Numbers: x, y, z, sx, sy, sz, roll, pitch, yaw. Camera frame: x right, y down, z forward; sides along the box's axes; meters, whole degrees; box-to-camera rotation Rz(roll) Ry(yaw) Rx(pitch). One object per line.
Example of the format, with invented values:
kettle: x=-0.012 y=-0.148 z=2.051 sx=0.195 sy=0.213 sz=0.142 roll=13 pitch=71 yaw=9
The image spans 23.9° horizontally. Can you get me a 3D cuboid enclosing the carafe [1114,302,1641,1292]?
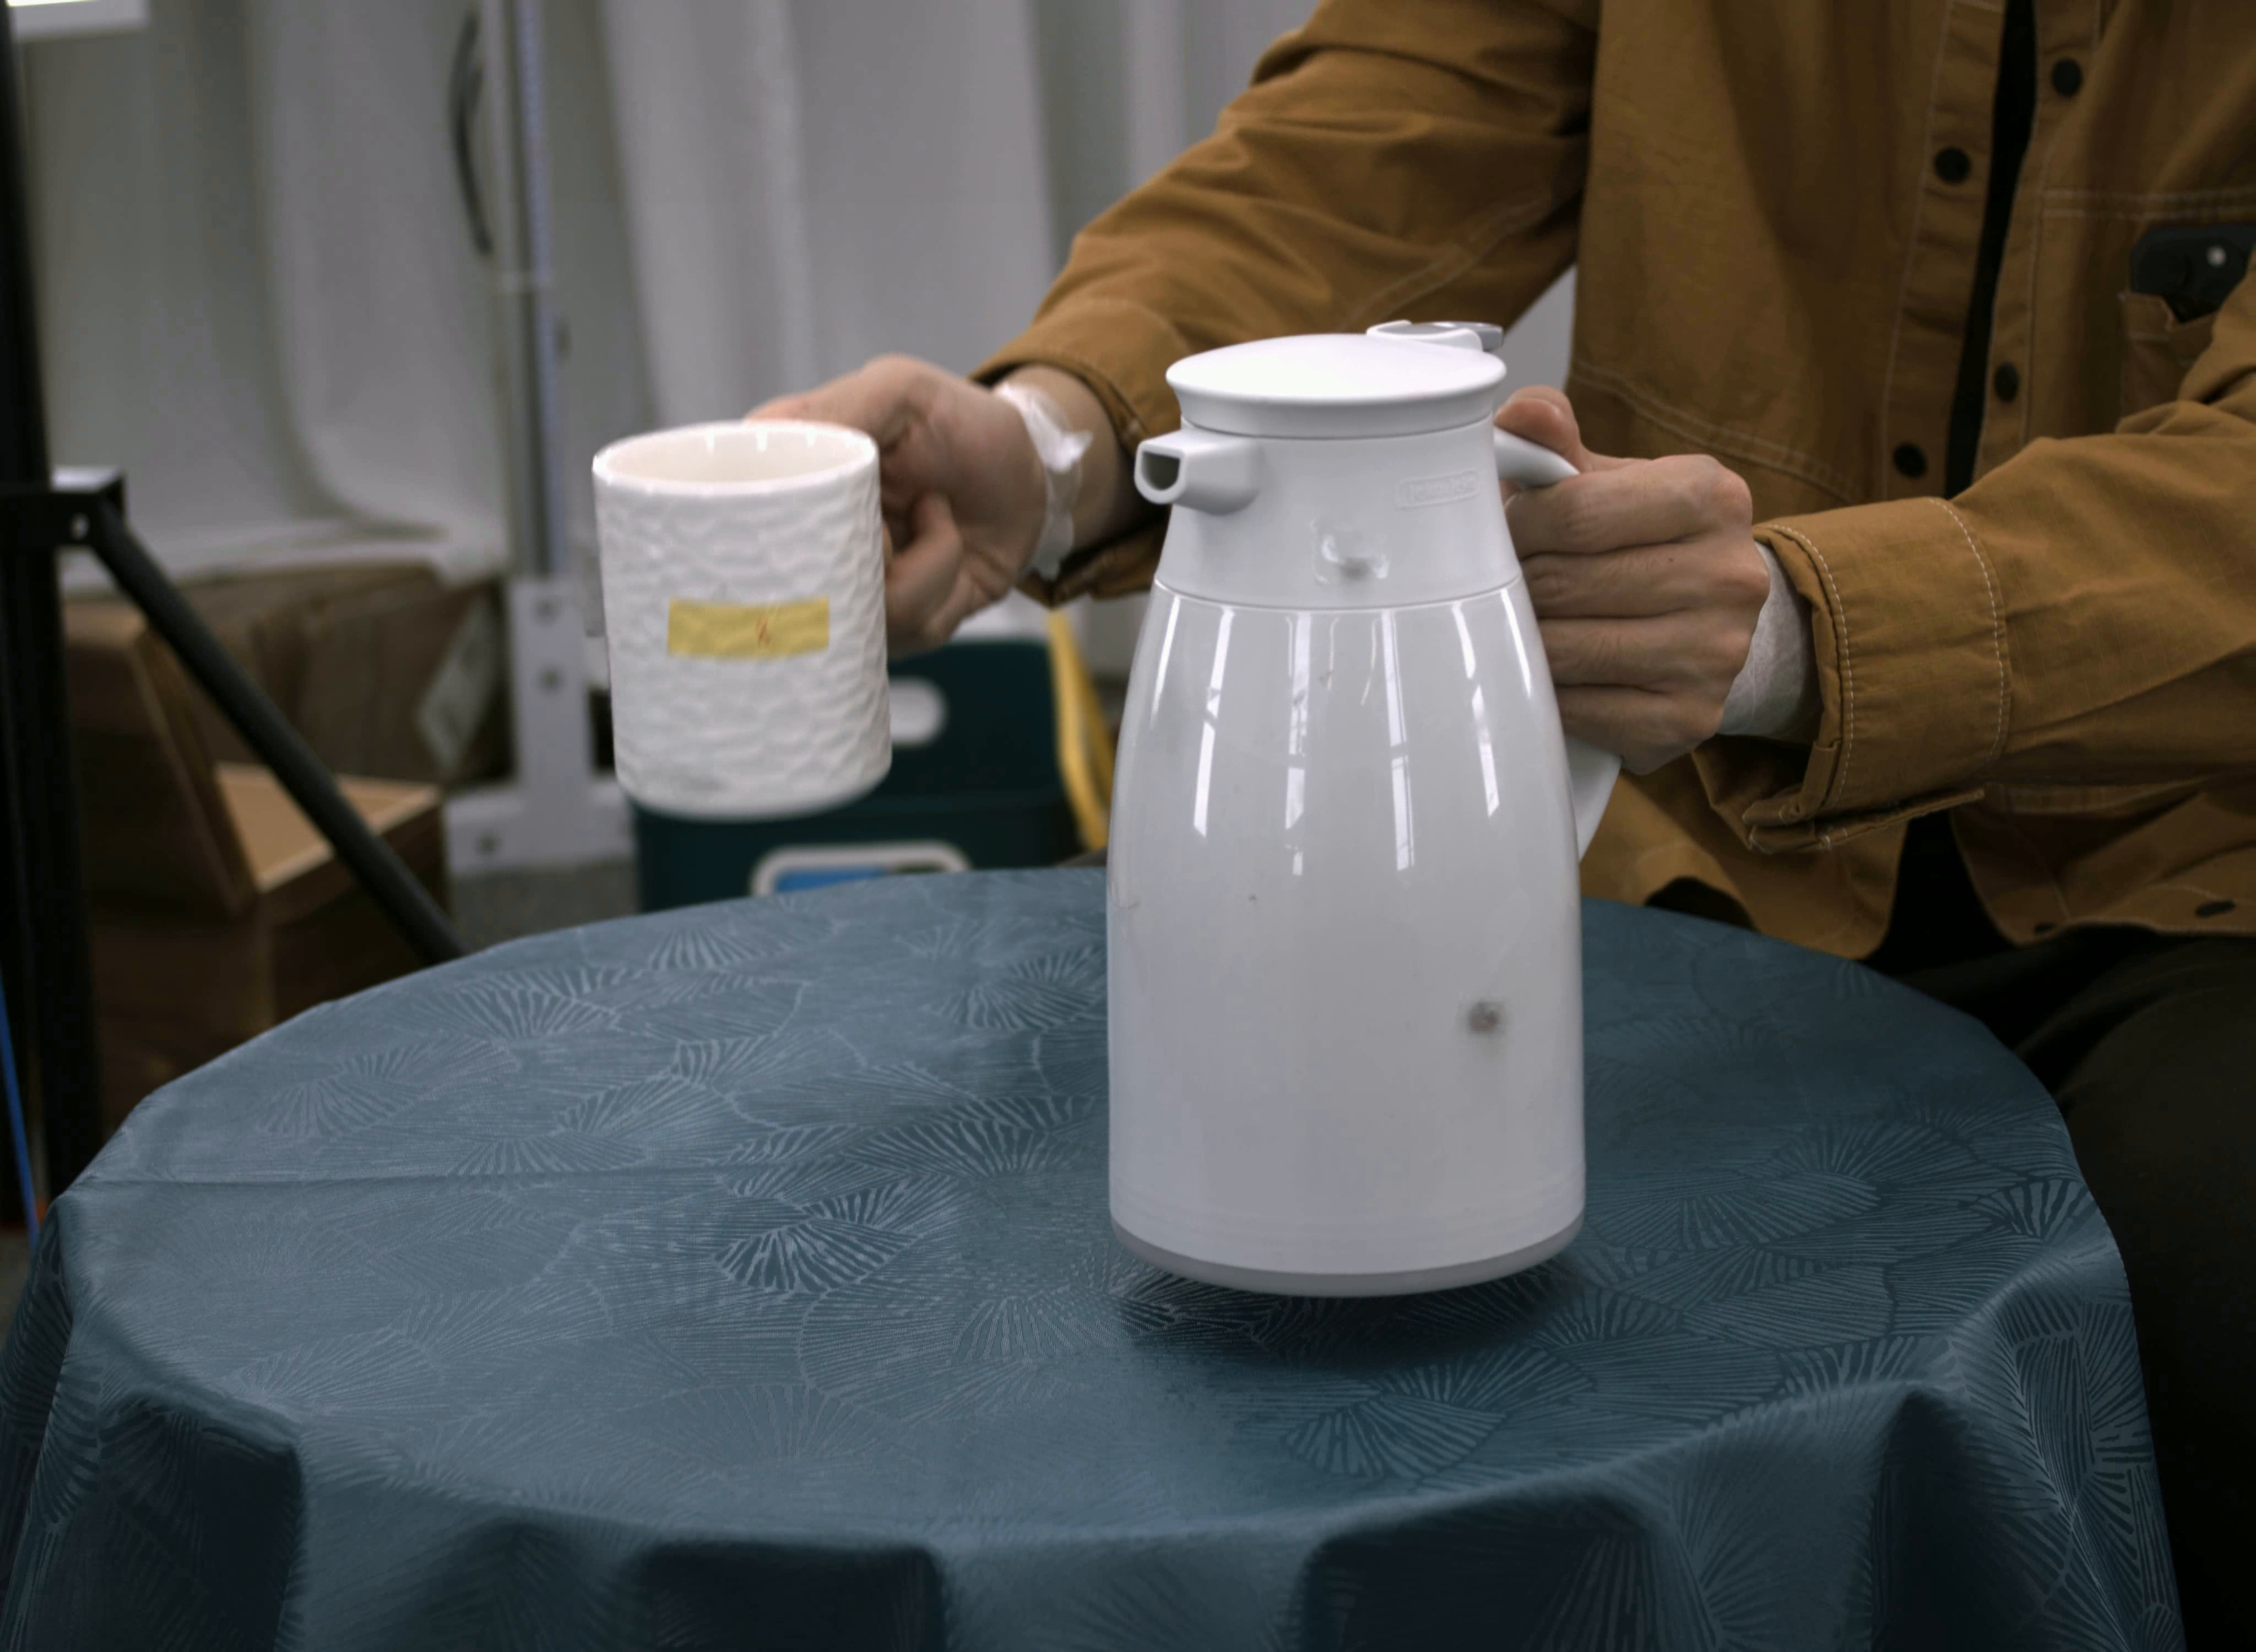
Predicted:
carafe: x=0.074 y=-0.016 z=1.448 sx=0.164 sy=0.249 sz=0.135 roll=-12 pitch=16 yaw=-37

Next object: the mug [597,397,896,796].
mug: x=-0.108 y=-0.073 z=1.598 sx=0.085 sy=0.102 sz=0.117 roll=2 pitch=17 yaw=15
